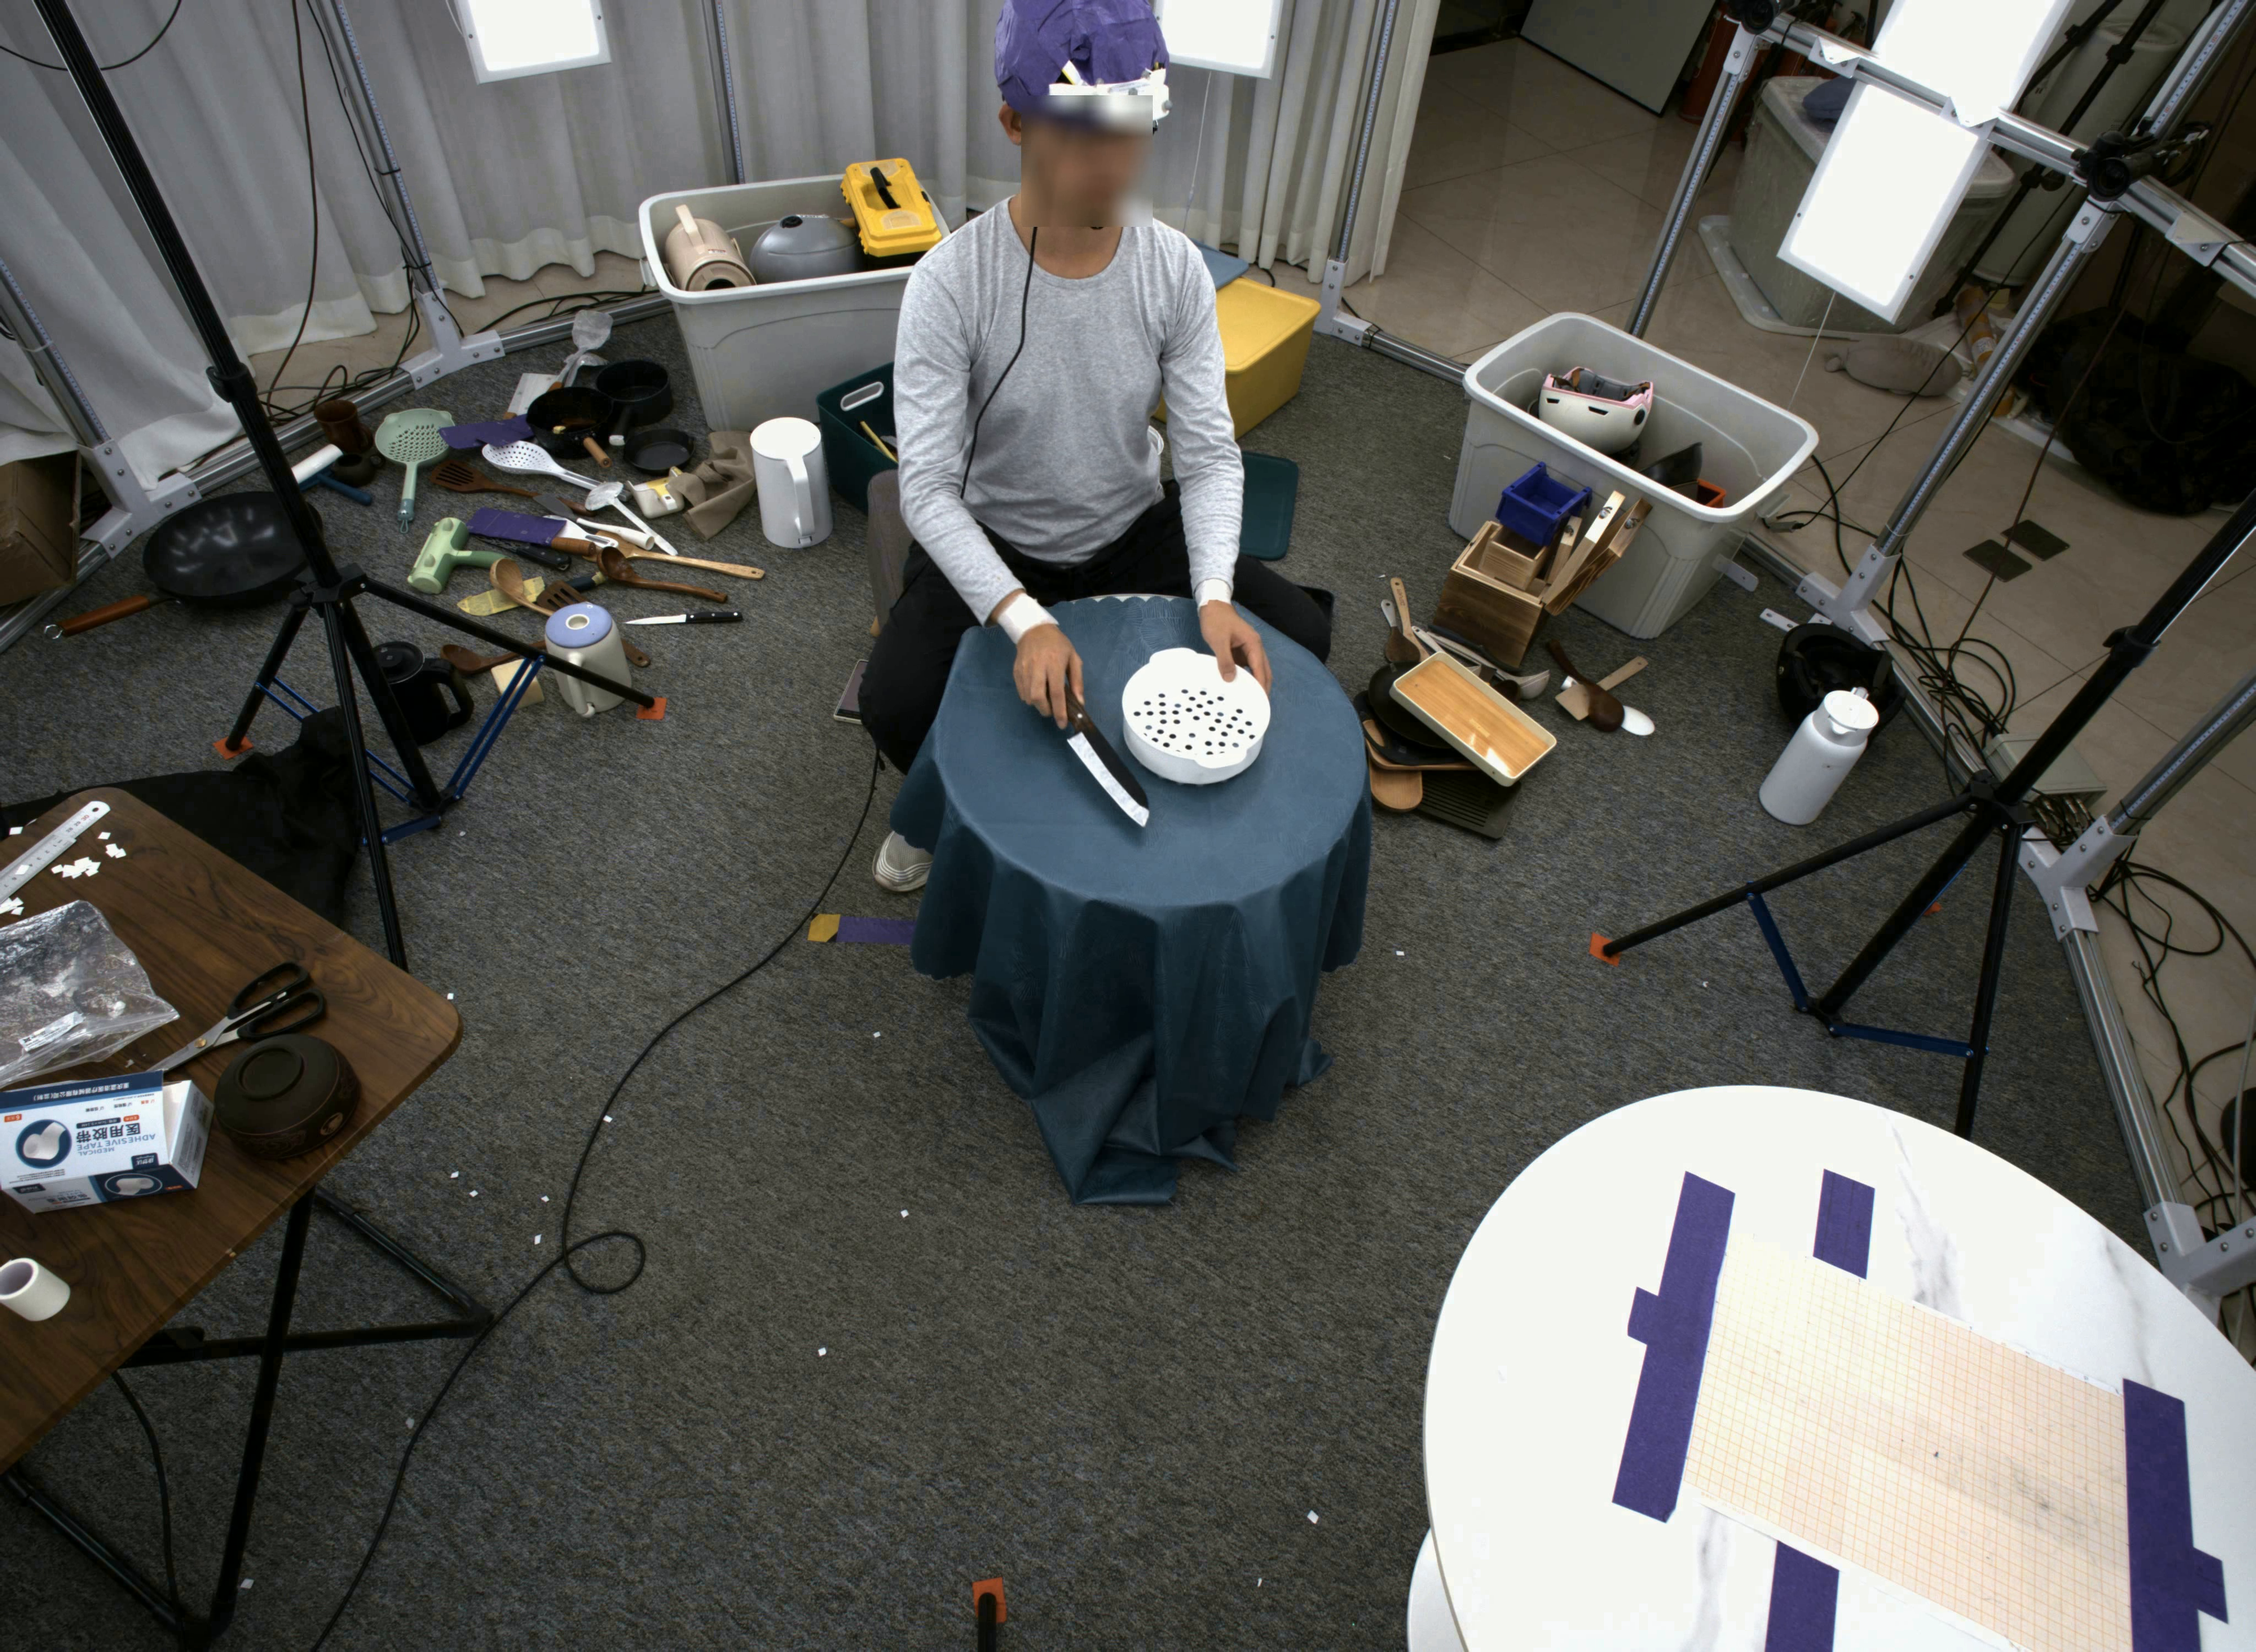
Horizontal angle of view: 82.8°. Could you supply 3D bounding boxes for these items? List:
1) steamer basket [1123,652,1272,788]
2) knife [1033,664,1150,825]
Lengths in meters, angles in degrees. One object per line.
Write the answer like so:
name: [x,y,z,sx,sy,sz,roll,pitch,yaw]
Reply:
steamer basket: [0.092,-0.141,1.753,0.202,0.067,0.236,-10,50,-14]
knife: [-0.050,-0.111,1.702,0.050,0.019,0.295,-29,62,-11]
